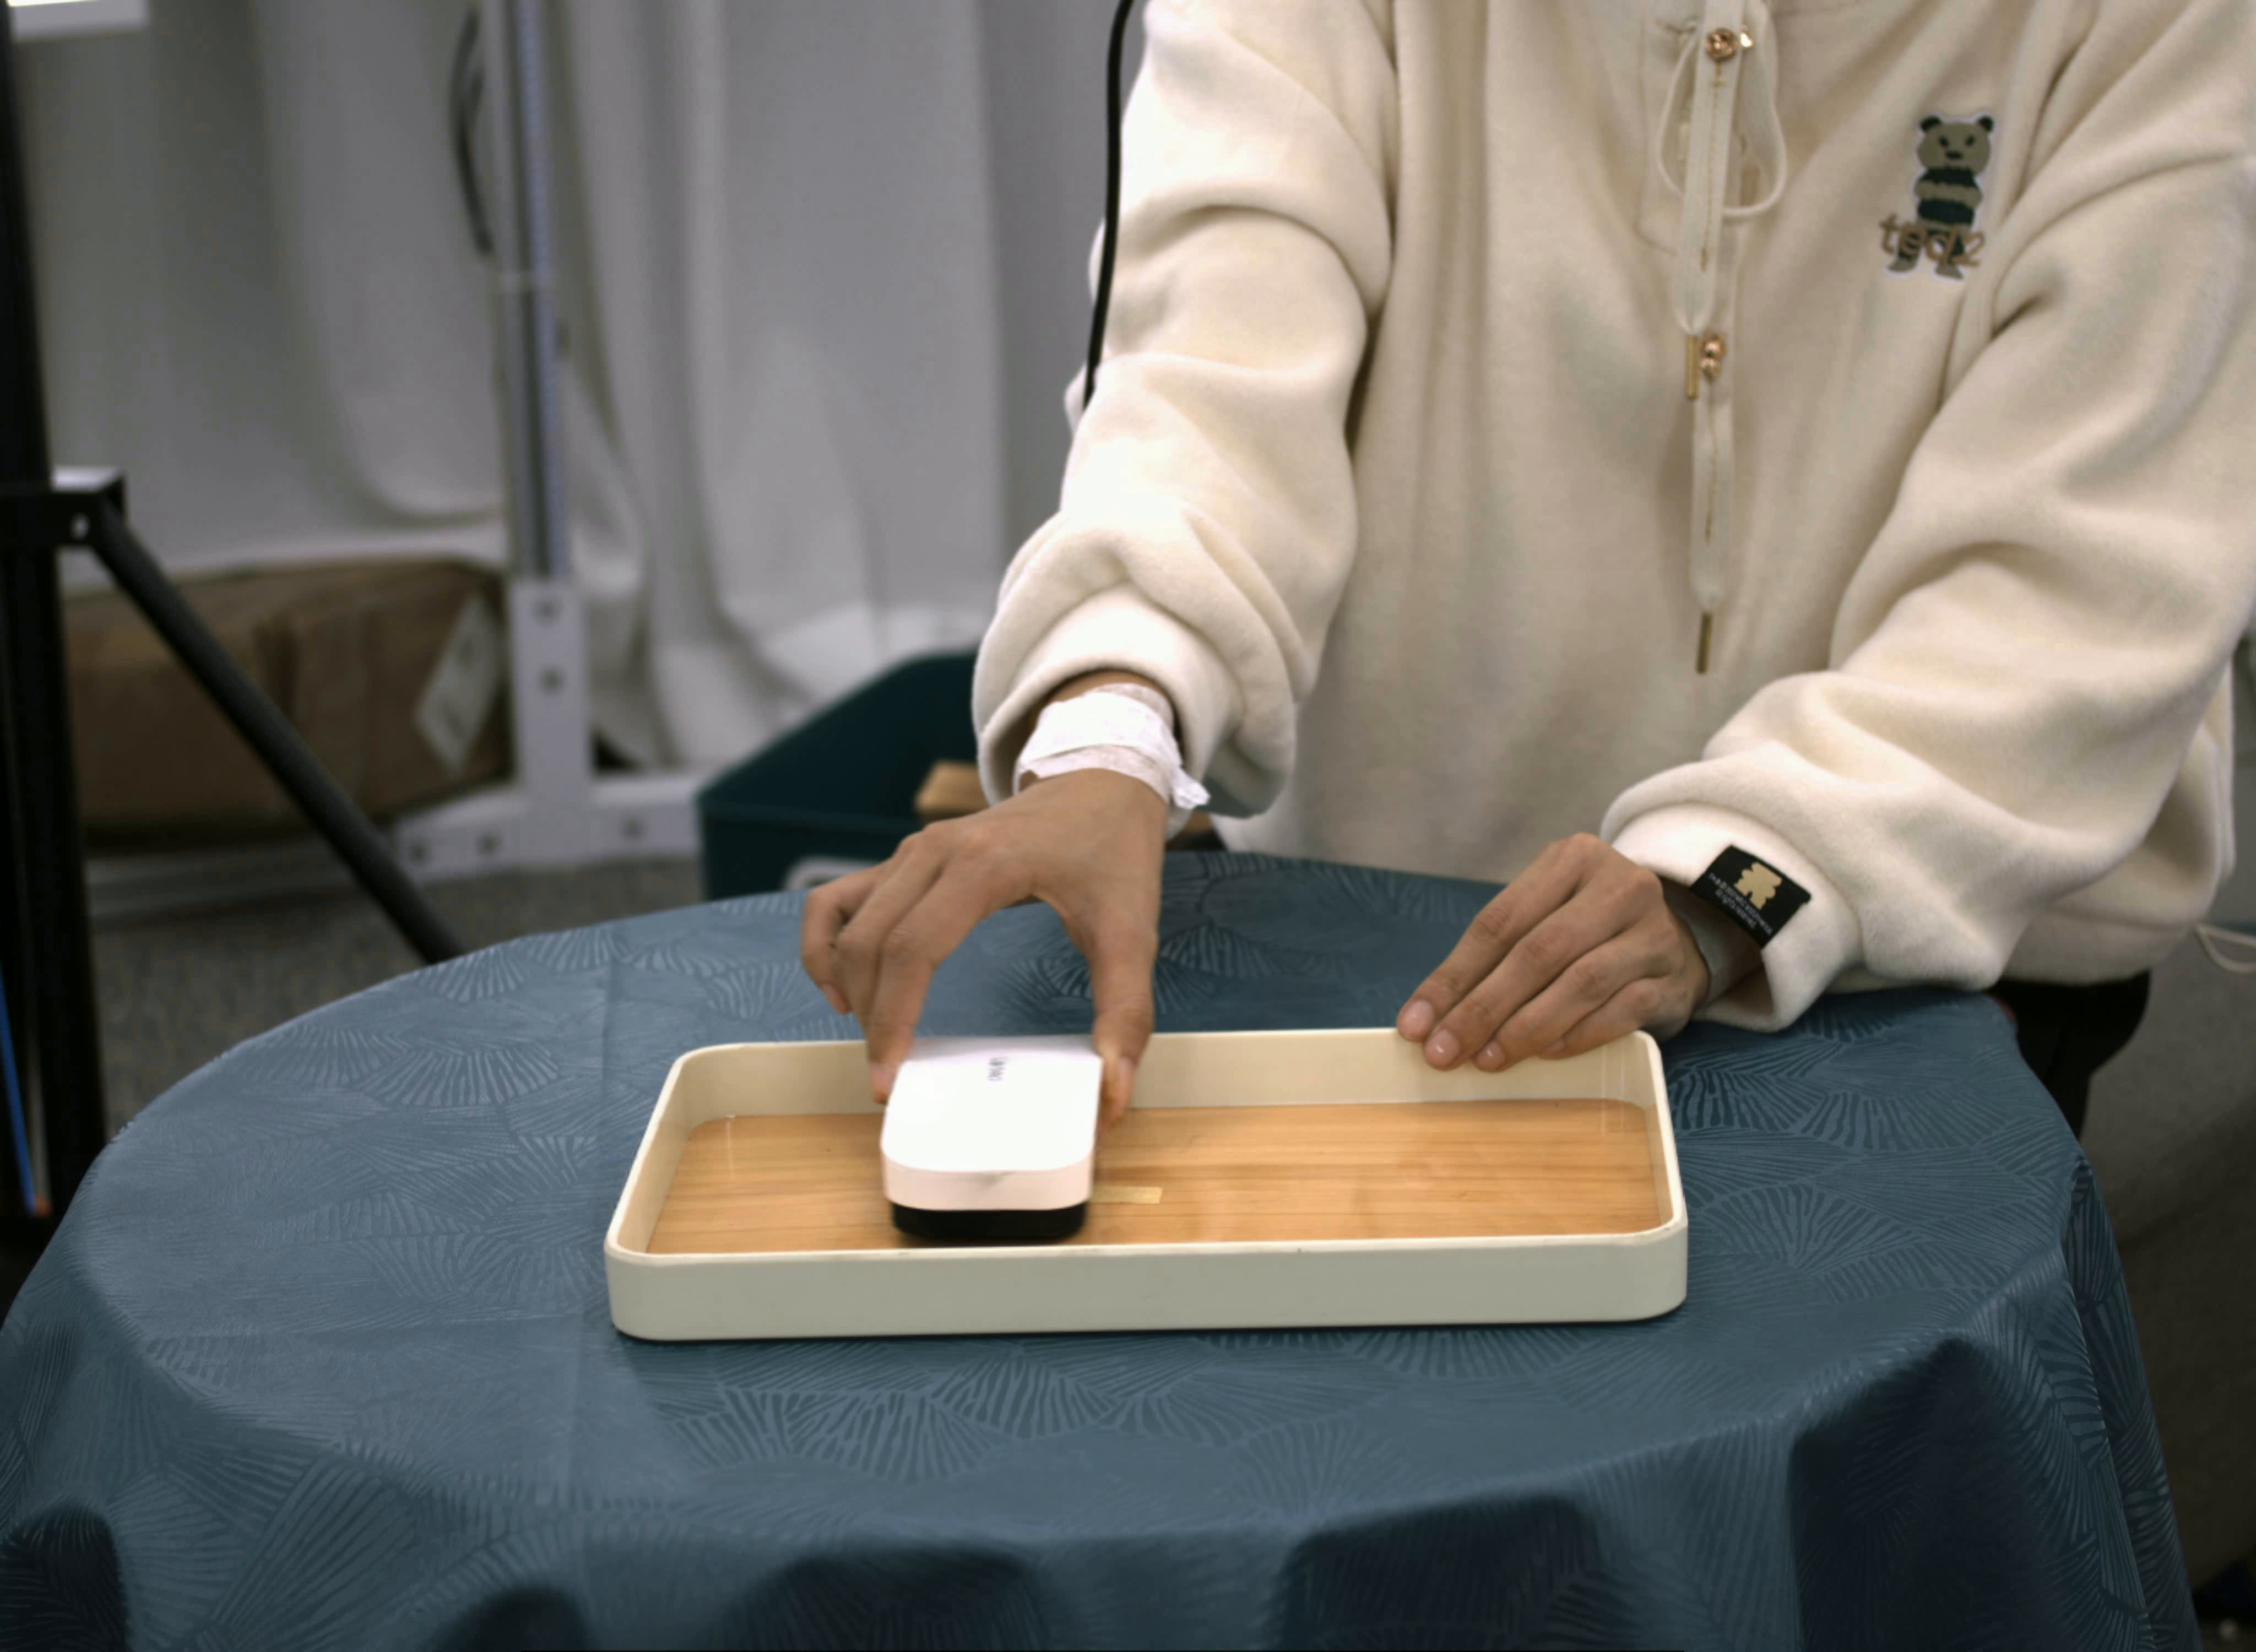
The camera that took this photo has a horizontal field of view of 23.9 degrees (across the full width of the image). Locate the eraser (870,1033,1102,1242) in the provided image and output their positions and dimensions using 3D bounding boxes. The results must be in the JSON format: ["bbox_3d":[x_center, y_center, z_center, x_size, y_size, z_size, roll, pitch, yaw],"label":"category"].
[{"bbox_3d":[-0.040,0.087,1.557,0.063,0.034,0.131,0,15,4],"label":"eraser"}]

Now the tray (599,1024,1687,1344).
[{"bbox_3d":[0.007,0.102,1.528,0.300,0.027,0.192,-1,16,5],"label":"tray"}]
